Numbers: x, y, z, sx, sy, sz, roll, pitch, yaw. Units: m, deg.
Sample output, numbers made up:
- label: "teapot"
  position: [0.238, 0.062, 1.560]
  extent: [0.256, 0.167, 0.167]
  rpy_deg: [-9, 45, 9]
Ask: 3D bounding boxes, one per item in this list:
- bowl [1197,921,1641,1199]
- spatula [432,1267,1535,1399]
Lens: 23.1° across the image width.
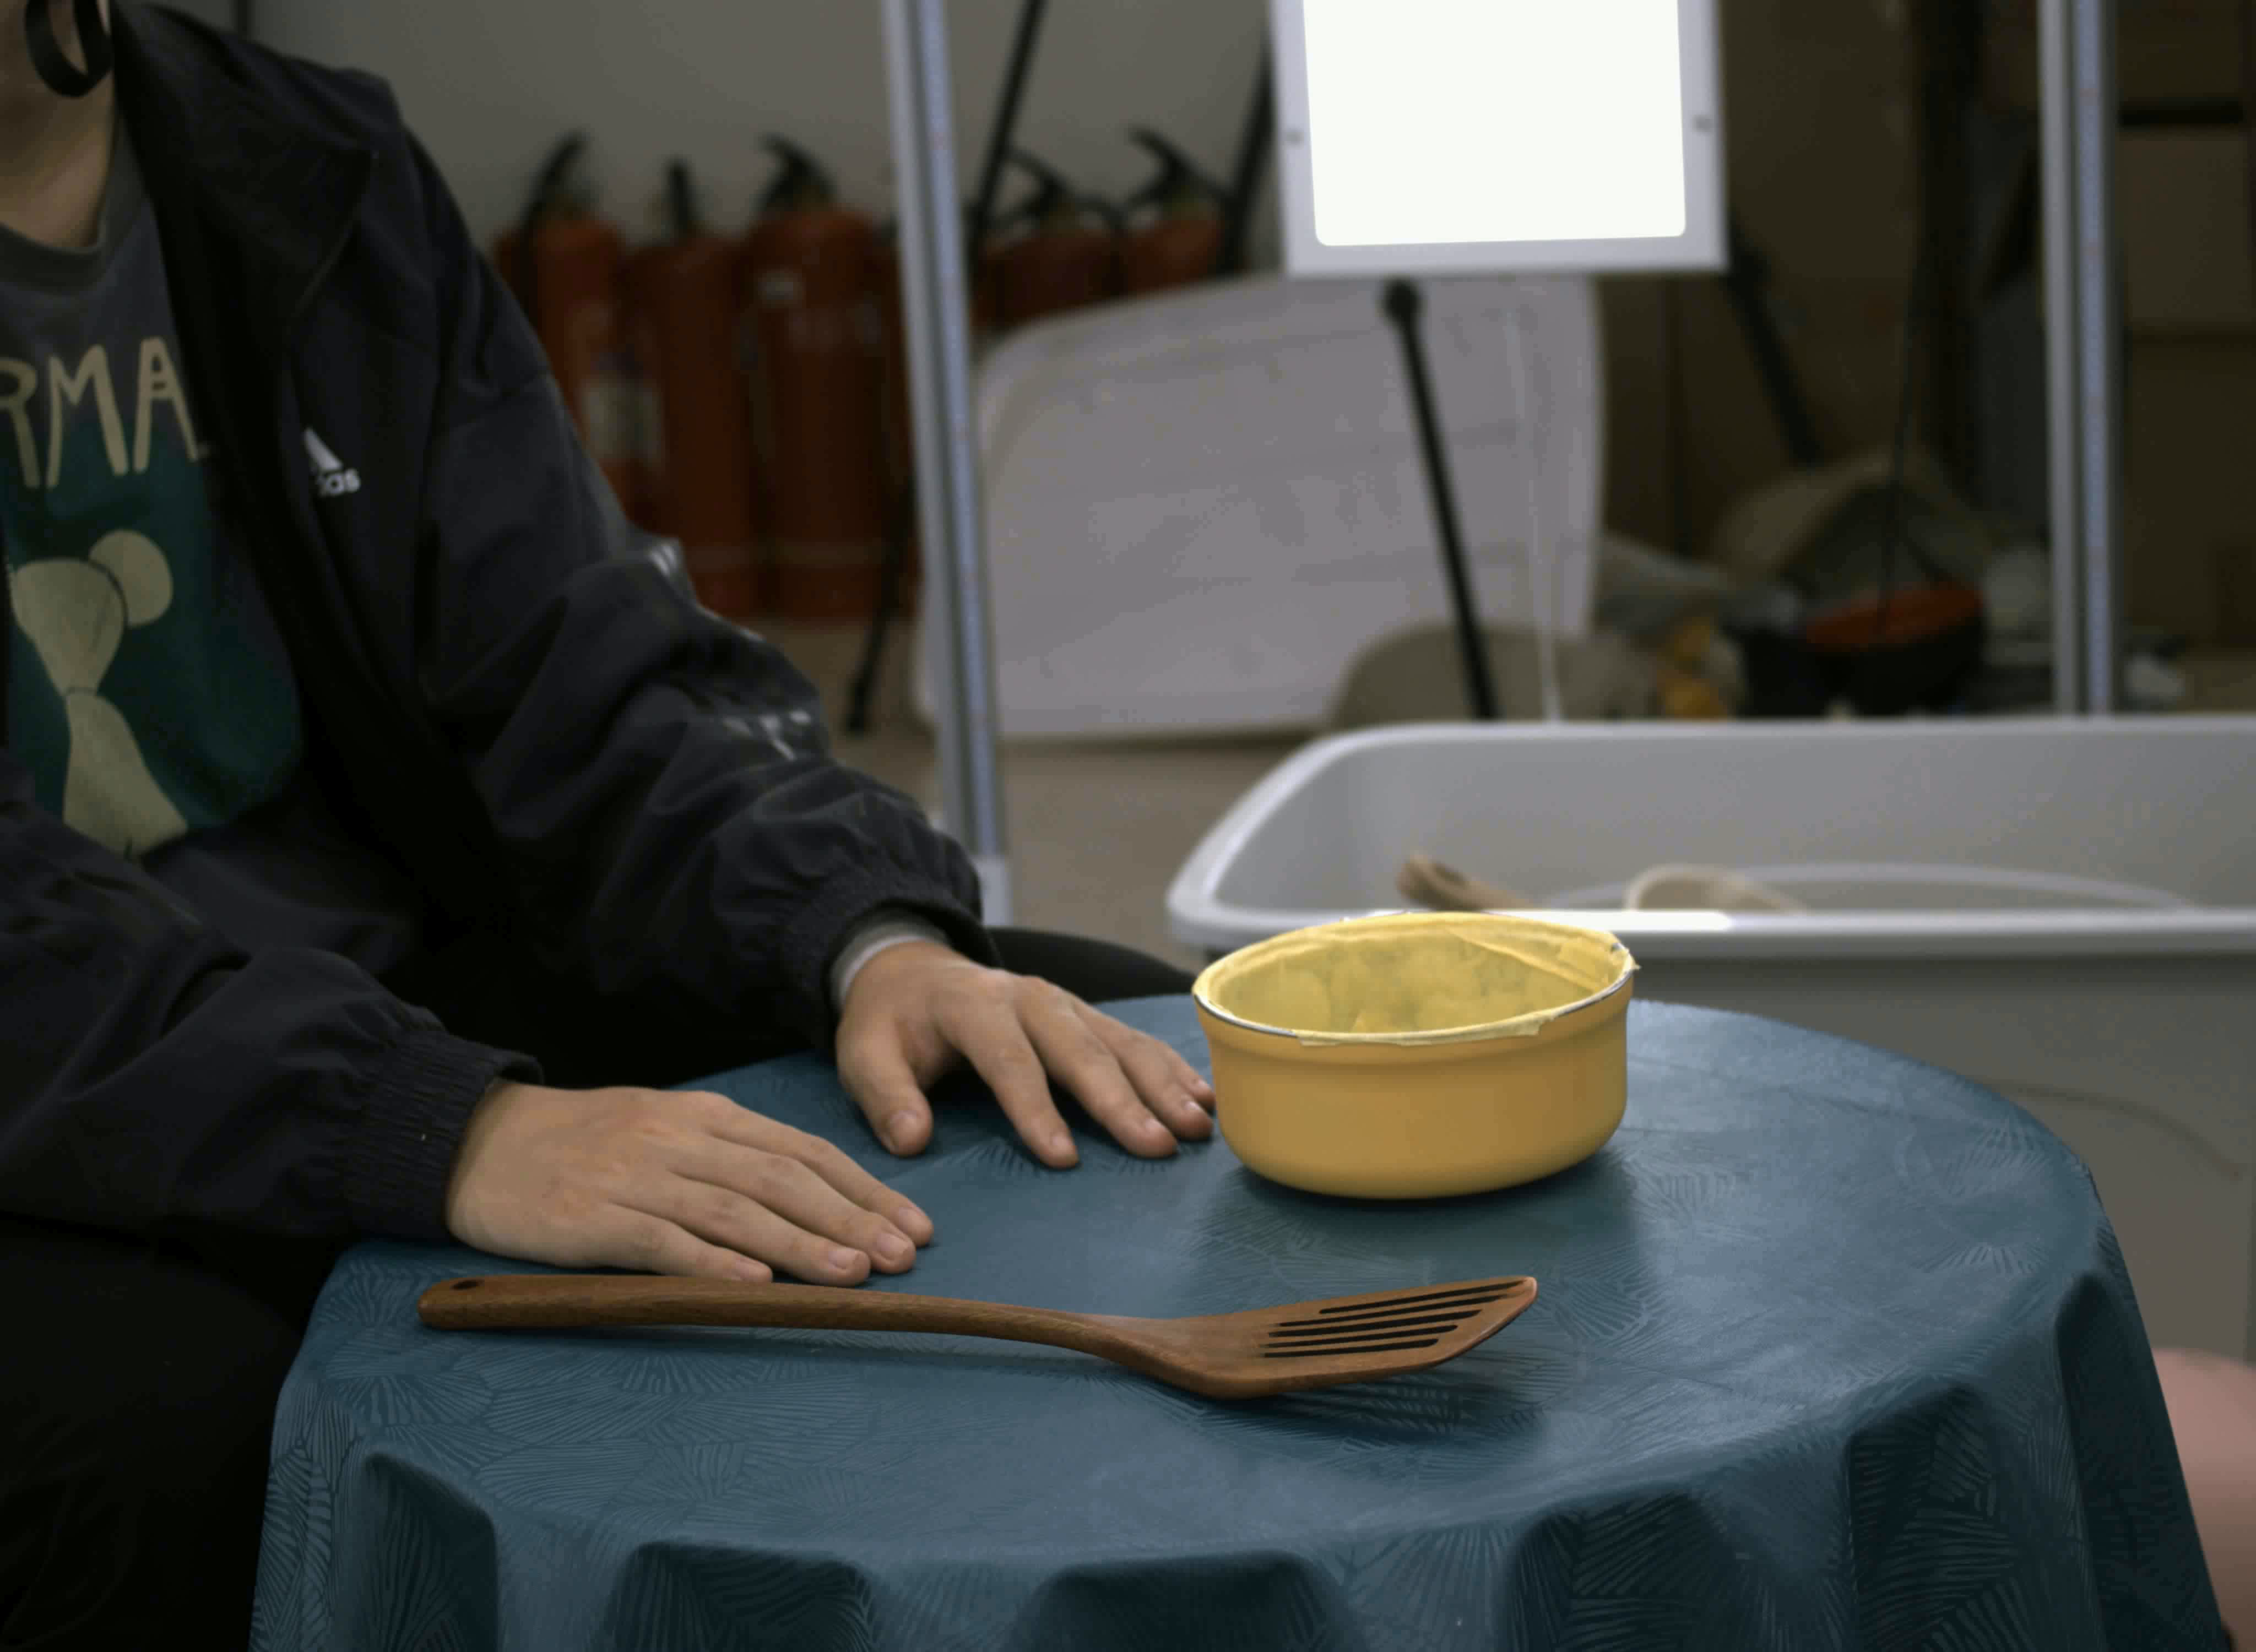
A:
- label: "bowl"
  position: [0.101, 0.080, 1.915]
  extent: [0.151, 0.074, 0.180]
  rpy_deg: [-7, 14, -8]
- label: "spatula"
  position: [-0.056, 0.157, 1.750]
  extent: [0.393, 0.024, 0.084]
  rpy_deg: [0, 14, 27]
